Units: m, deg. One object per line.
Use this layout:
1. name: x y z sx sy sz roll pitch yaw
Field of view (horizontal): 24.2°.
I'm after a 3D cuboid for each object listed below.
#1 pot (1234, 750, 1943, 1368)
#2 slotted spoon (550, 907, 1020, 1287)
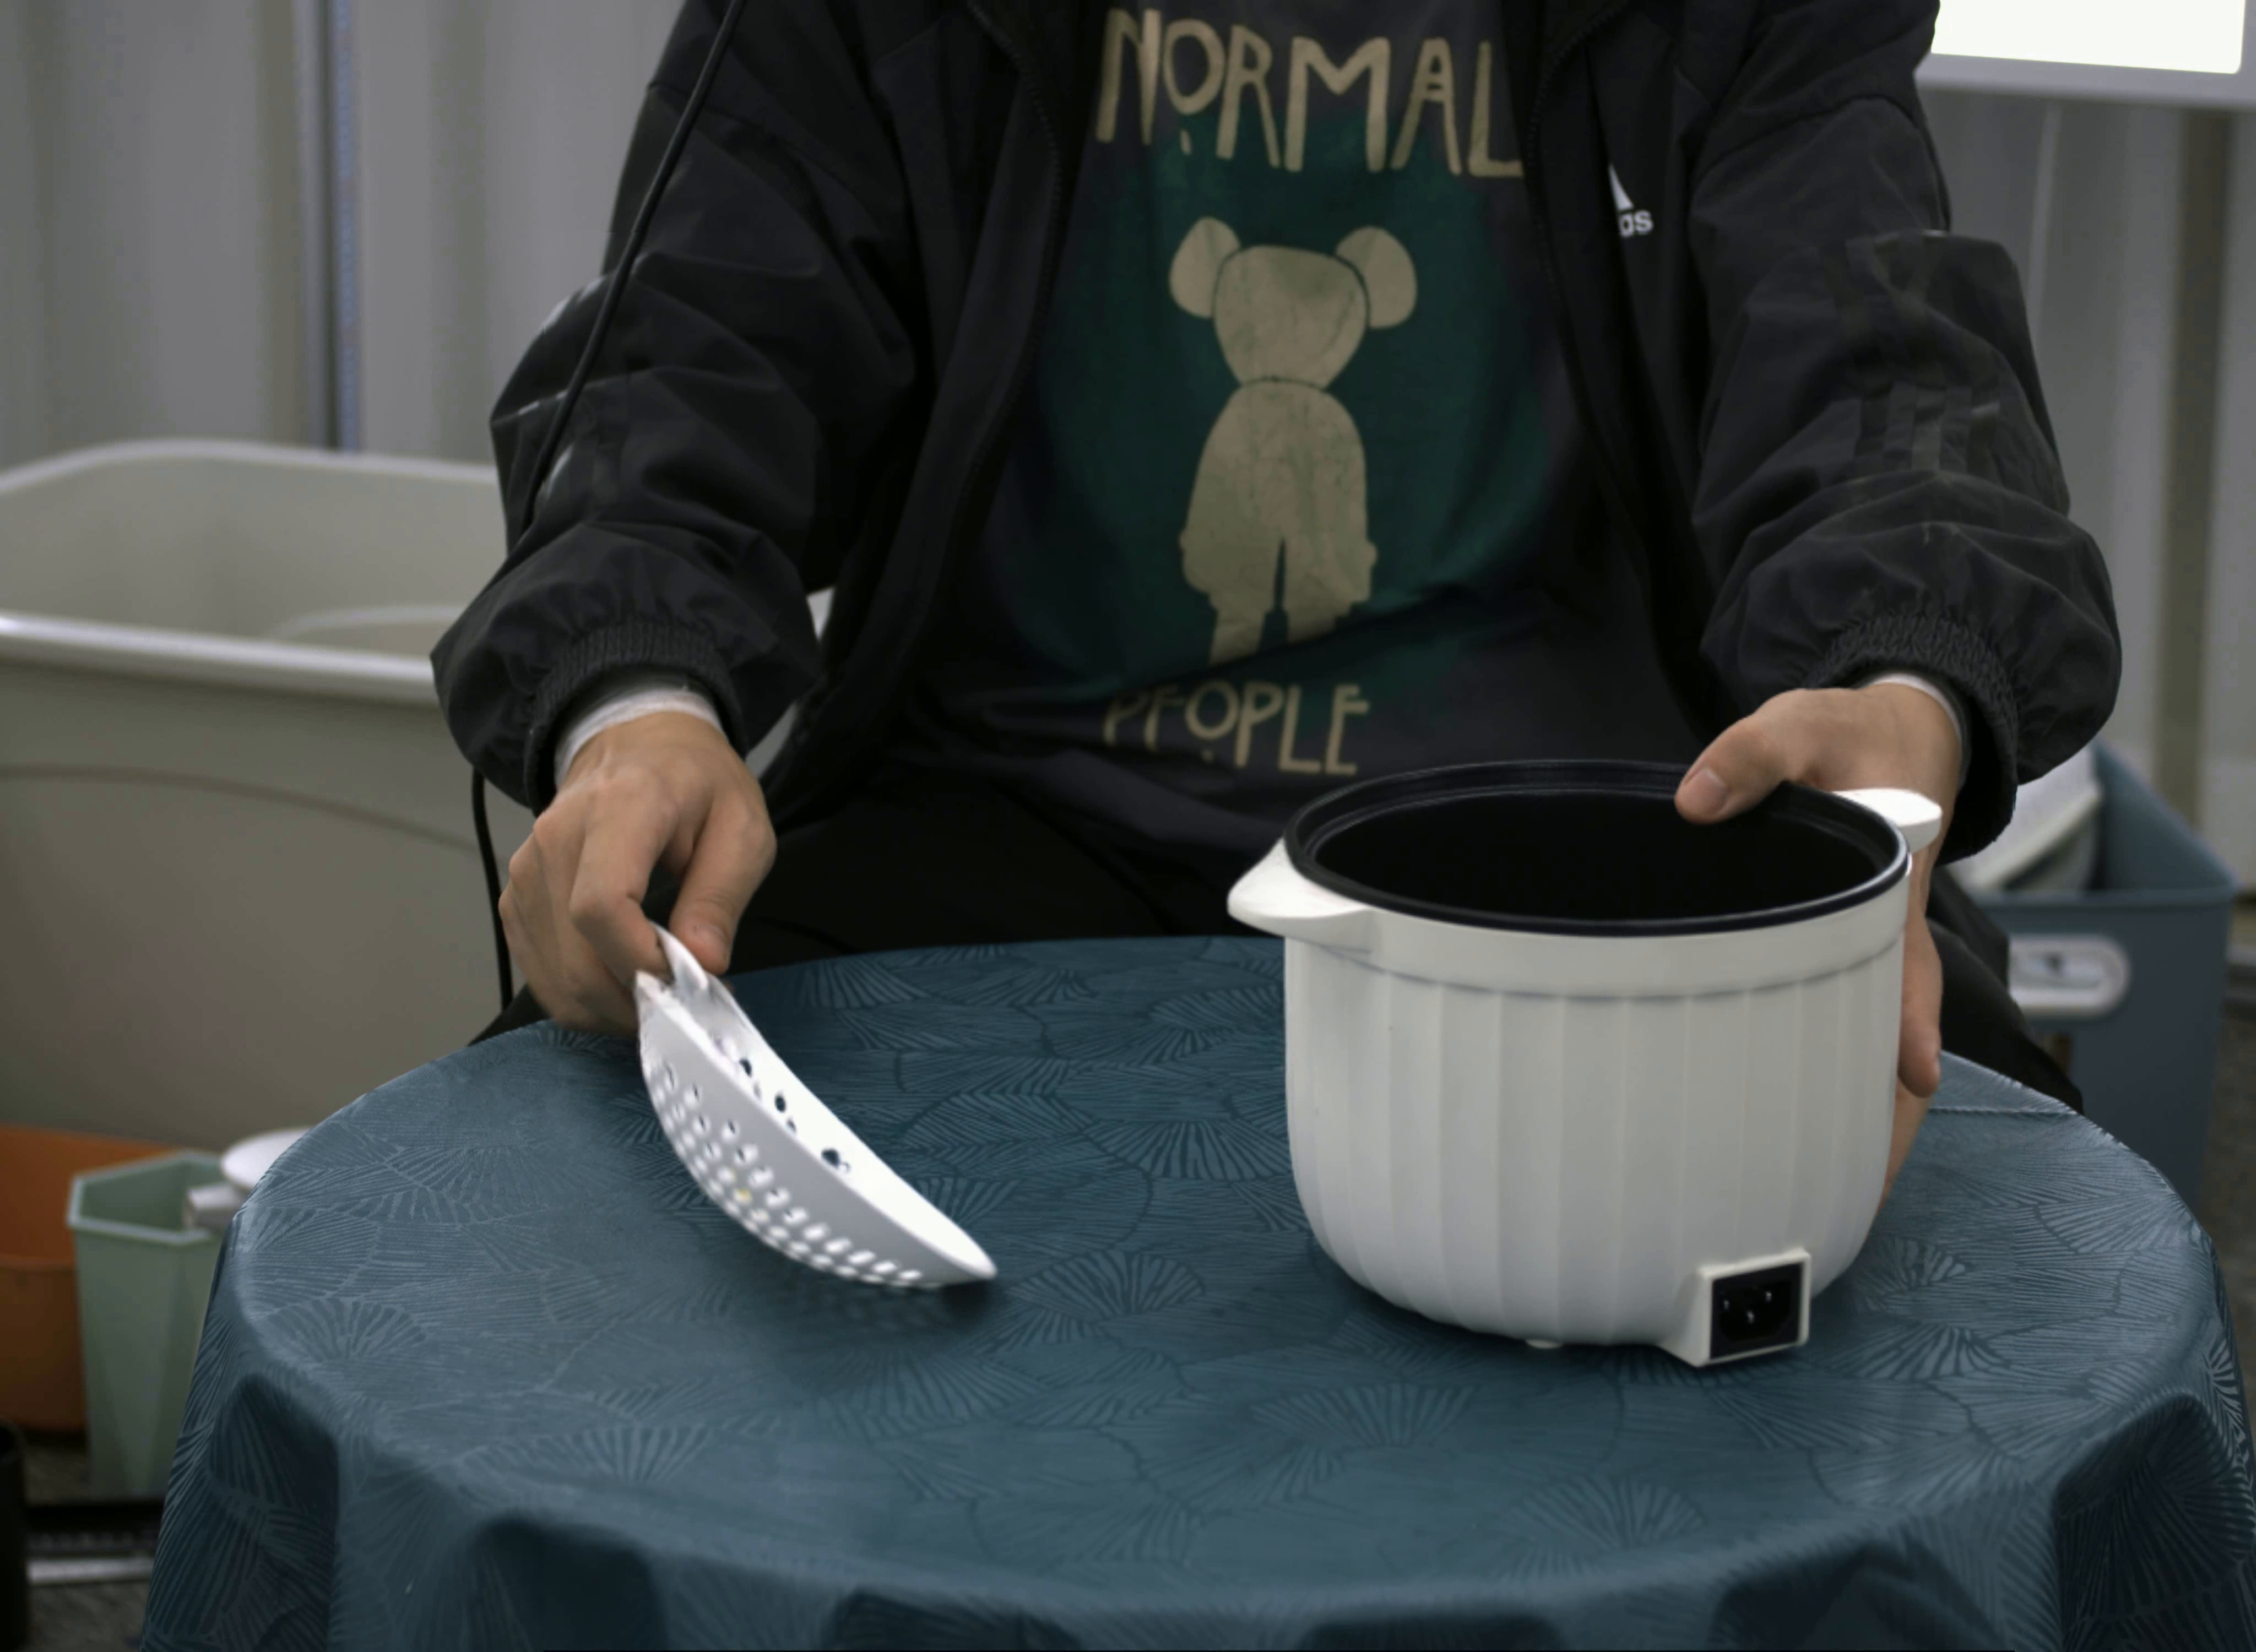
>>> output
1. pot: 0.131 0.065 1.539 0.241 0.144 0.188 -7 21 -29
2. slotted spoon: -0.128 0.069 1.631 0.138 0.050 0.344 36 5 -23
